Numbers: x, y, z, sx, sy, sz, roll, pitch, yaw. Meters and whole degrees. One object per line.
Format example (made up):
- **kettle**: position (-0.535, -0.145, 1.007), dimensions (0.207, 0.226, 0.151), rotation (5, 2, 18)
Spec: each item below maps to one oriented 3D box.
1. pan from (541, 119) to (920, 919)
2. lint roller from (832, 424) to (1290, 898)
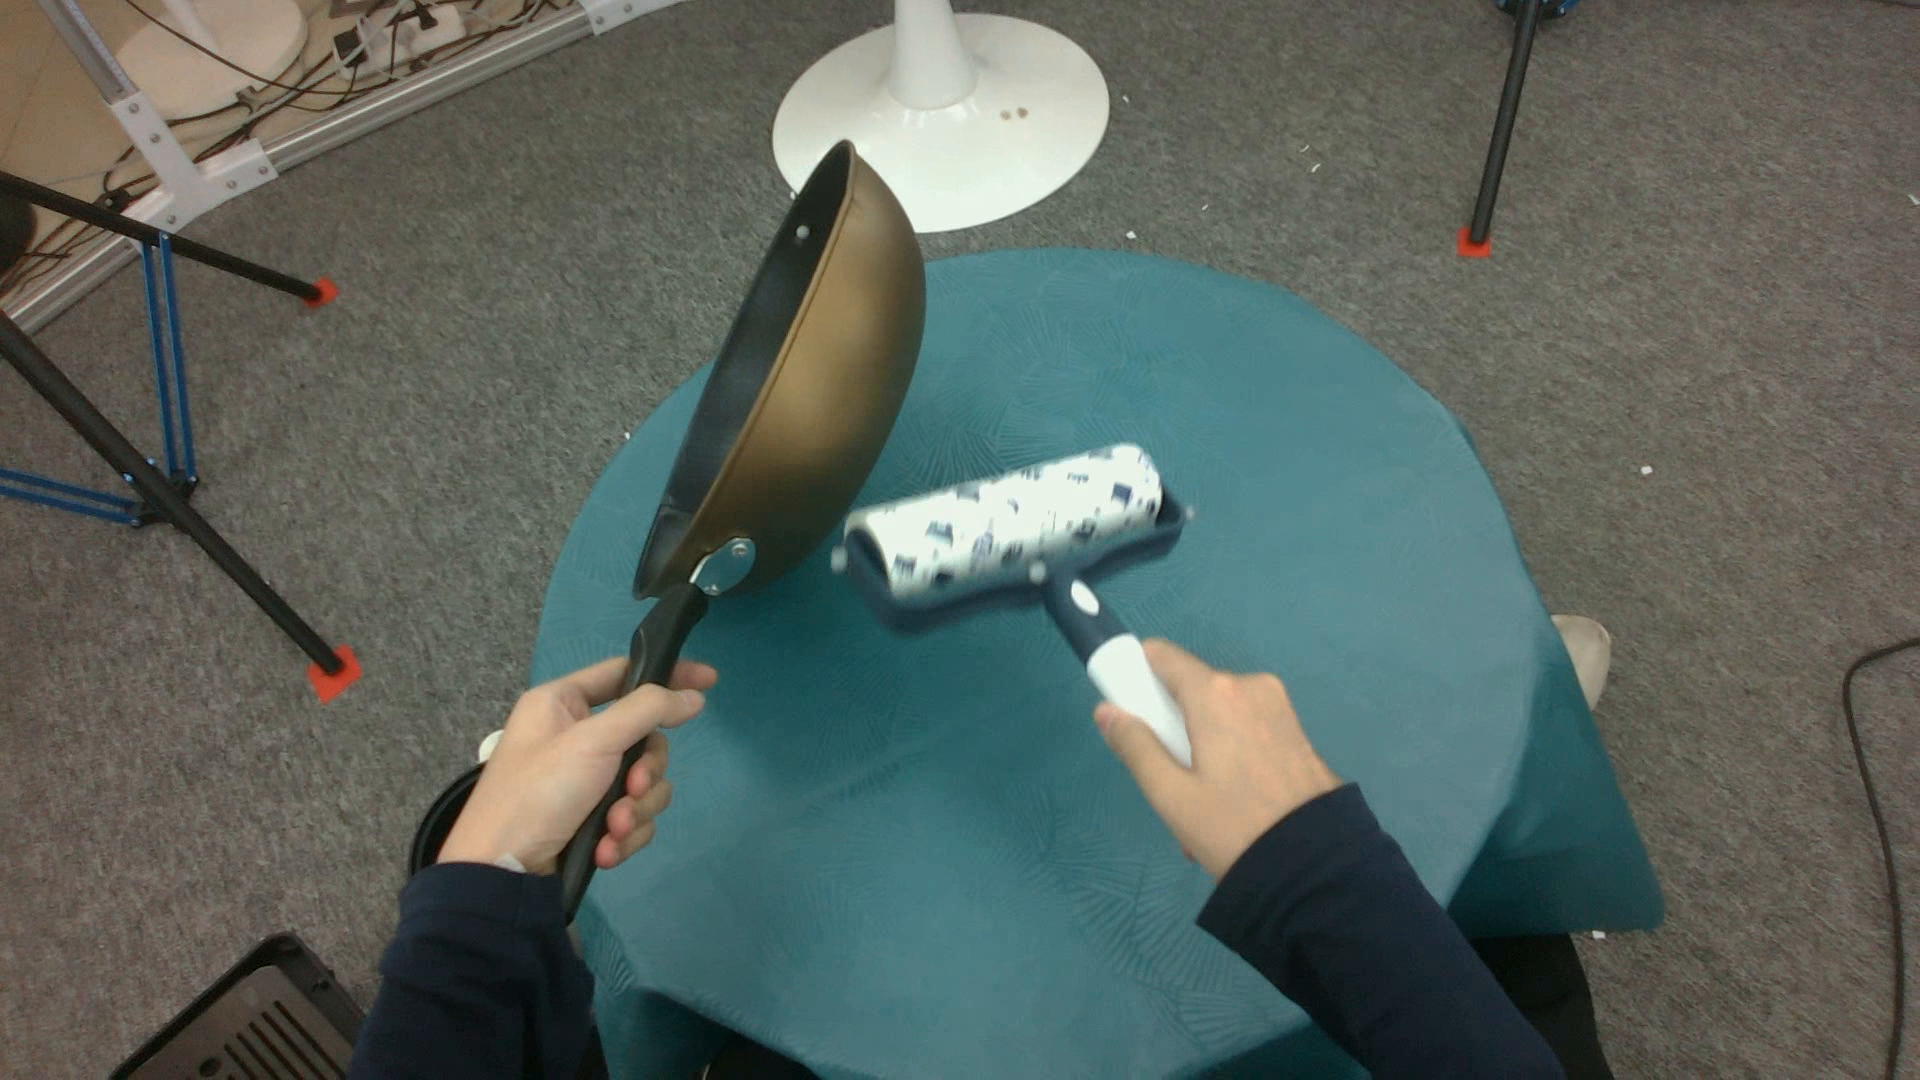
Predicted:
- **pan**: position (-0.108, -0.018, 0.722), dimensions (0.087, 0.286, 0.465), rotation (24, 50, -19)
- **lint roller**: position (0.073, 0.050, 0.624), dimensions (0.177, 0.050, 0.247), rotation (-16, 54, -31)
